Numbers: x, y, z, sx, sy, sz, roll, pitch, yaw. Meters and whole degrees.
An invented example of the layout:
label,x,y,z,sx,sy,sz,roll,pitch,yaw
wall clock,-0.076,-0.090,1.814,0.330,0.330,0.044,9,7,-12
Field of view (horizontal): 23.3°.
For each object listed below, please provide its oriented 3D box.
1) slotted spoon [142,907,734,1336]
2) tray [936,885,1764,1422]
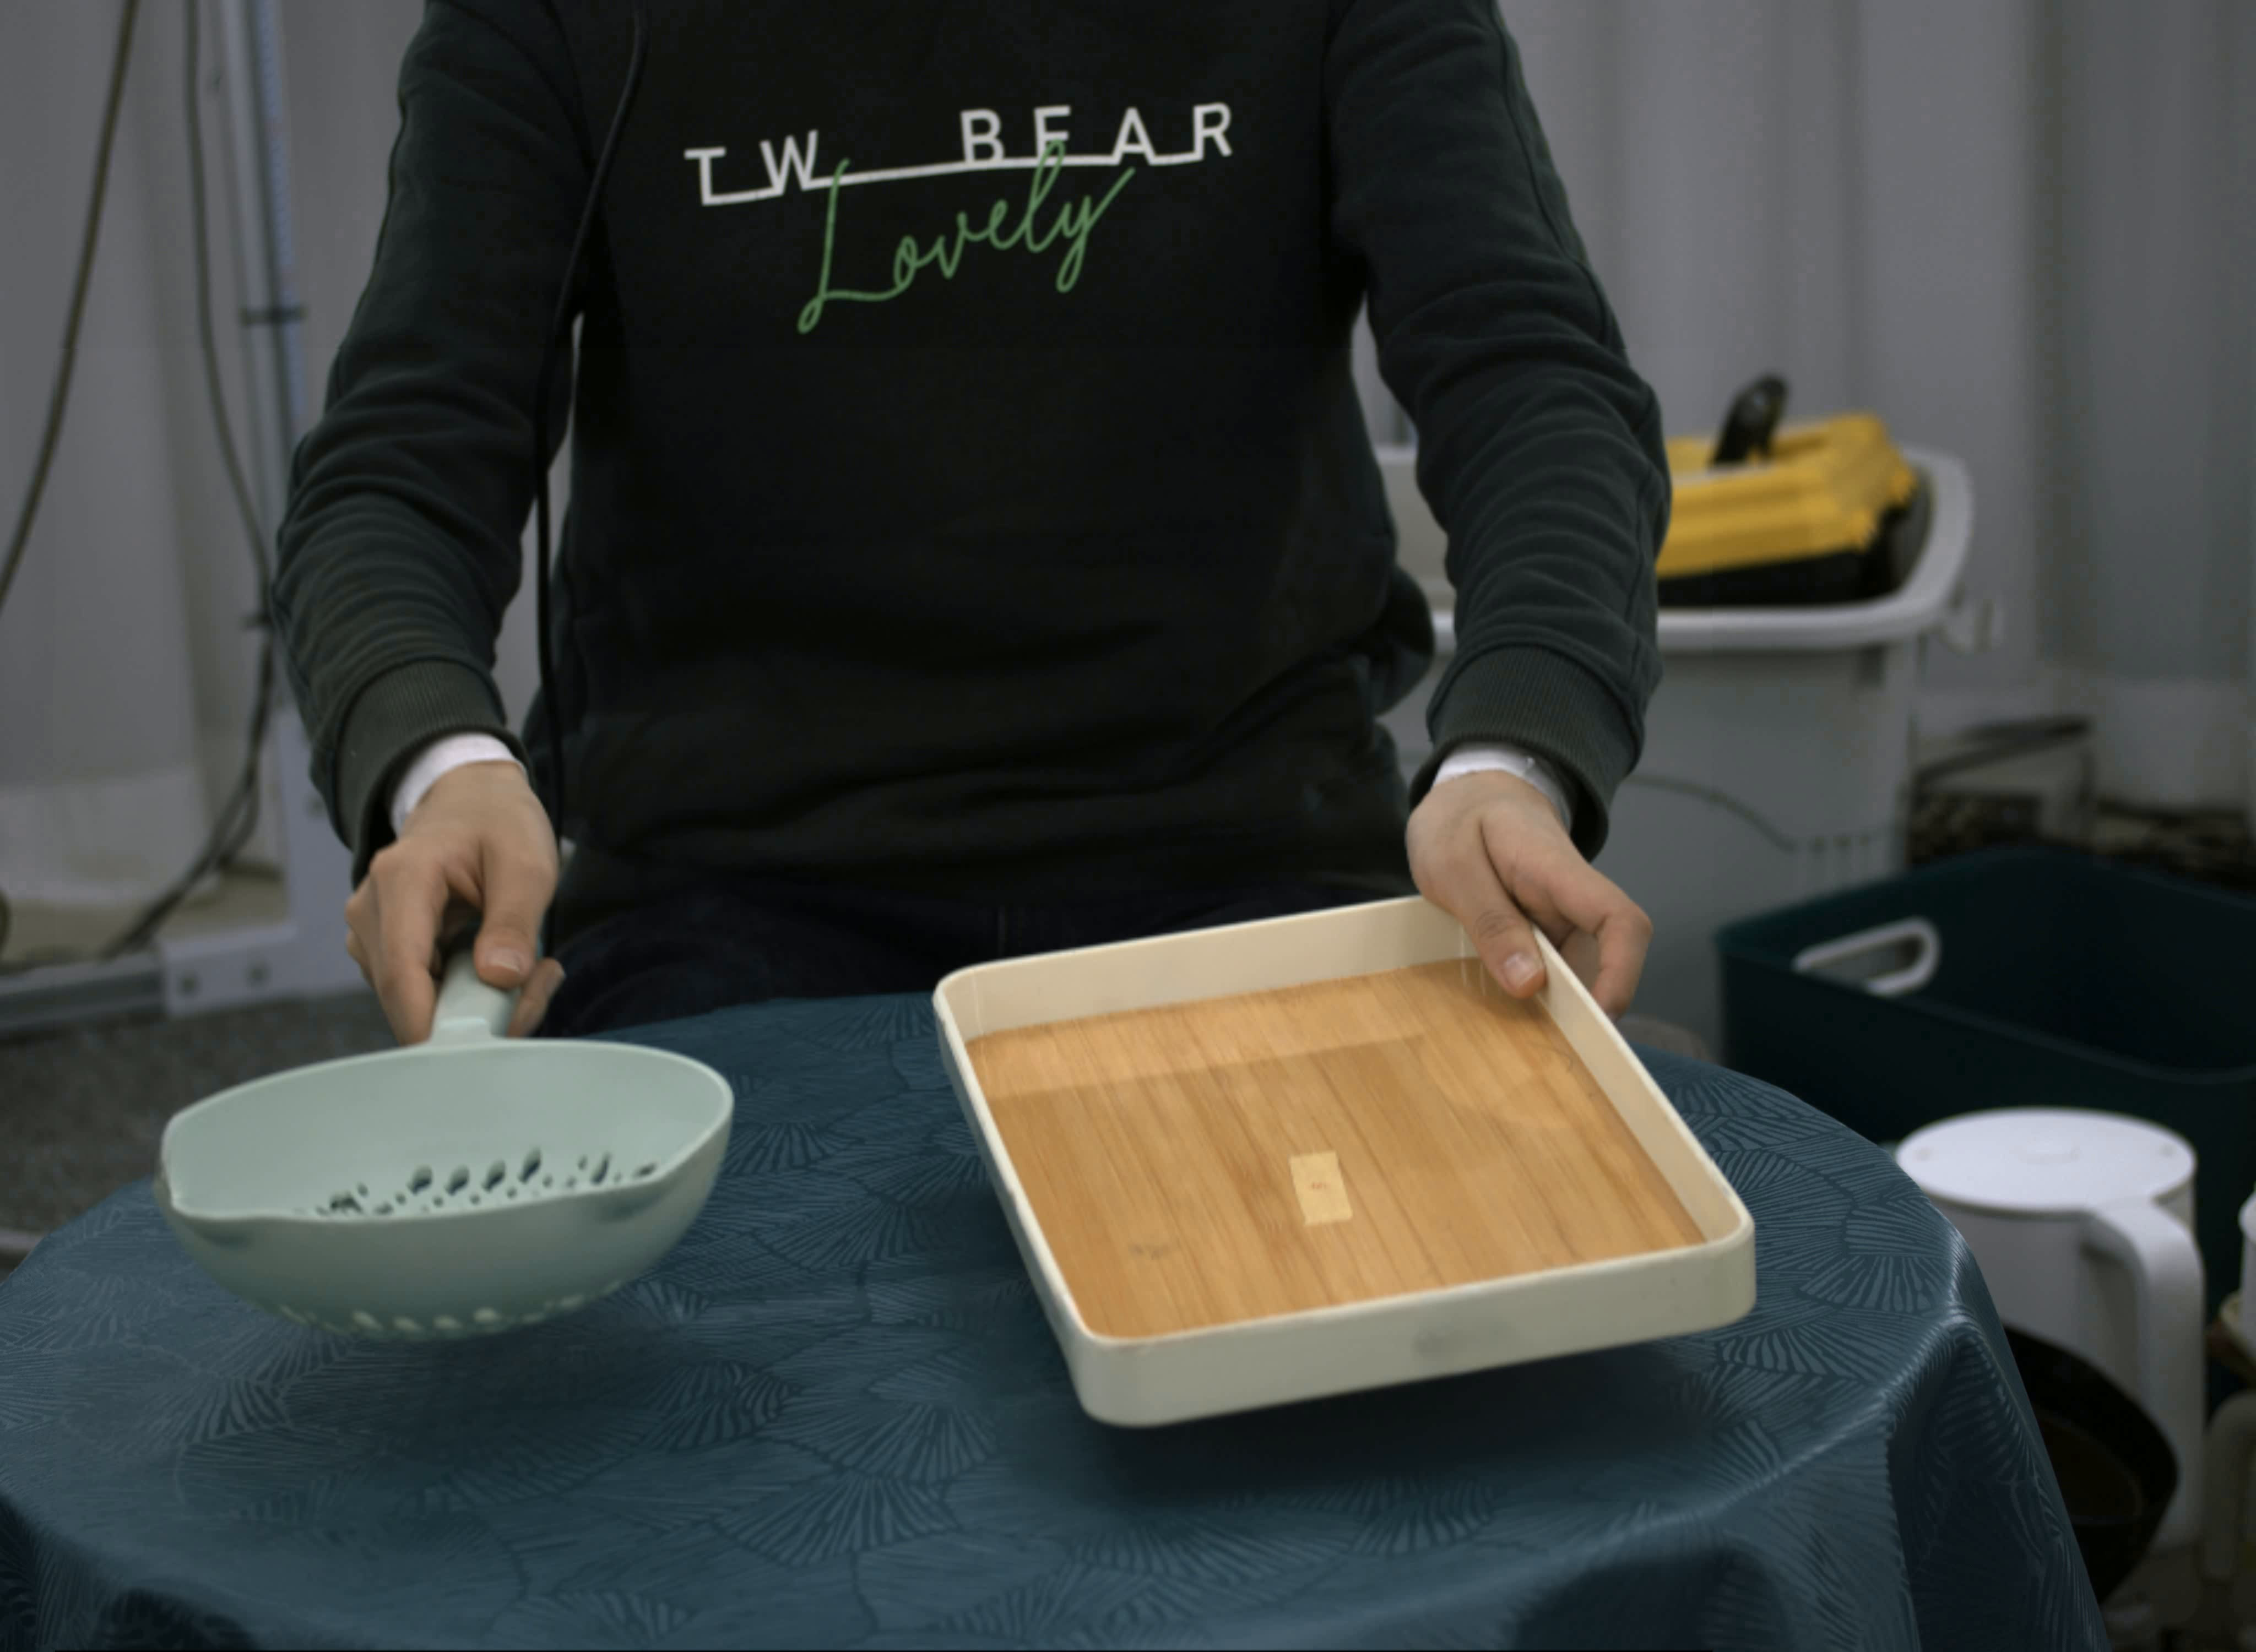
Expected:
label,x,y,z,sx,sy,sz,roll,pitch,yaw
slotted spoon,-0.201,0.073,1.658,0.169,0.075,0.362,-4,21,-2
tray,0.057,0.090,1.596,0.191,0.027,0.303,-9,20,-7
